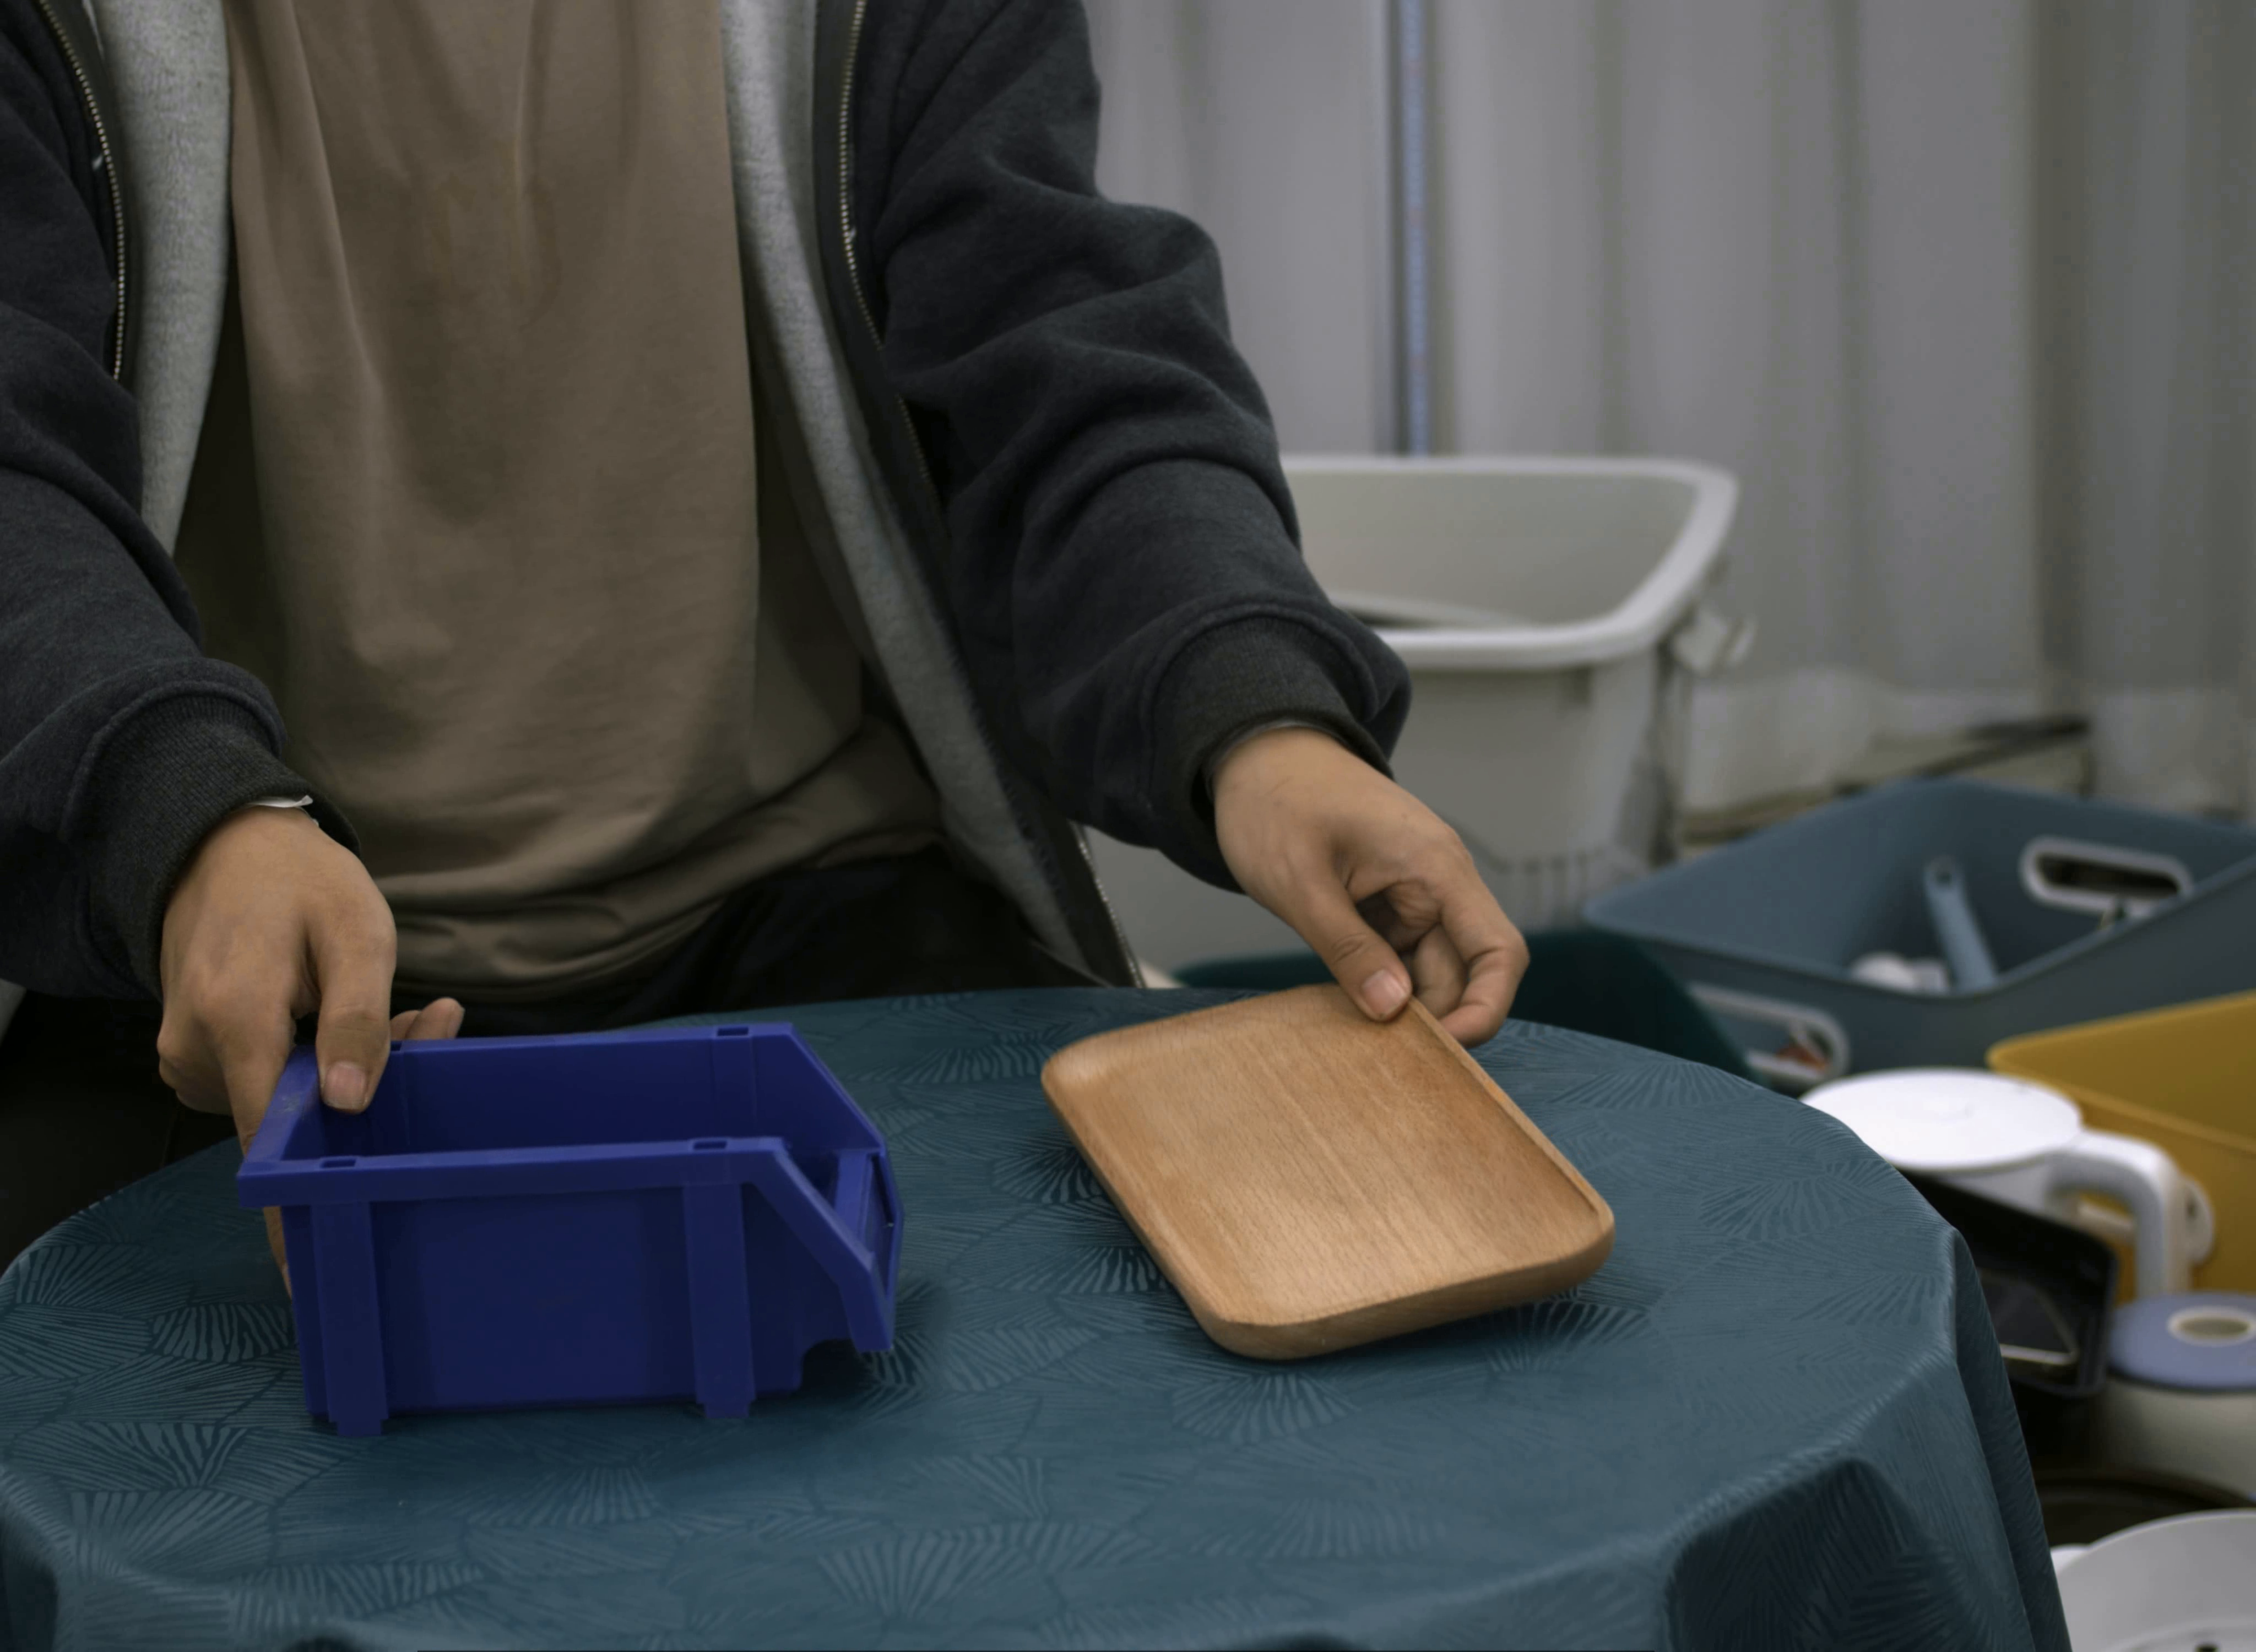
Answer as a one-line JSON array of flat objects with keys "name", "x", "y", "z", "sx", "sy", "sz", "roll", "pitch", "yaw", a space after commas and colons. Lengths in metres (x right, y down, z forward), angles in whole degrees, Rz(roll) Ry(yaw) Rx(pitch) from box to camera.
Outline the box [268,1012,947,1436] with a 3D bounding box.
[{"name": "box", "x": -0.146, "y": 0.113, "z": 1.592, "sx": 0.179, "sy": 0.081, "sz": 0.125, "roll": -6, "pitch": 14, "yaw": 3}]

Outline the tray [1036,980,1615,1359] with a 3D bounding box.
[{"name": "tray", "x": 0.057, "y": 0.102, "z": 1.675, "sx": 0.130, "sy": 0.023, "sz": 0.253, "roll": -12, "pitch": 18, "yaw": -11}]
